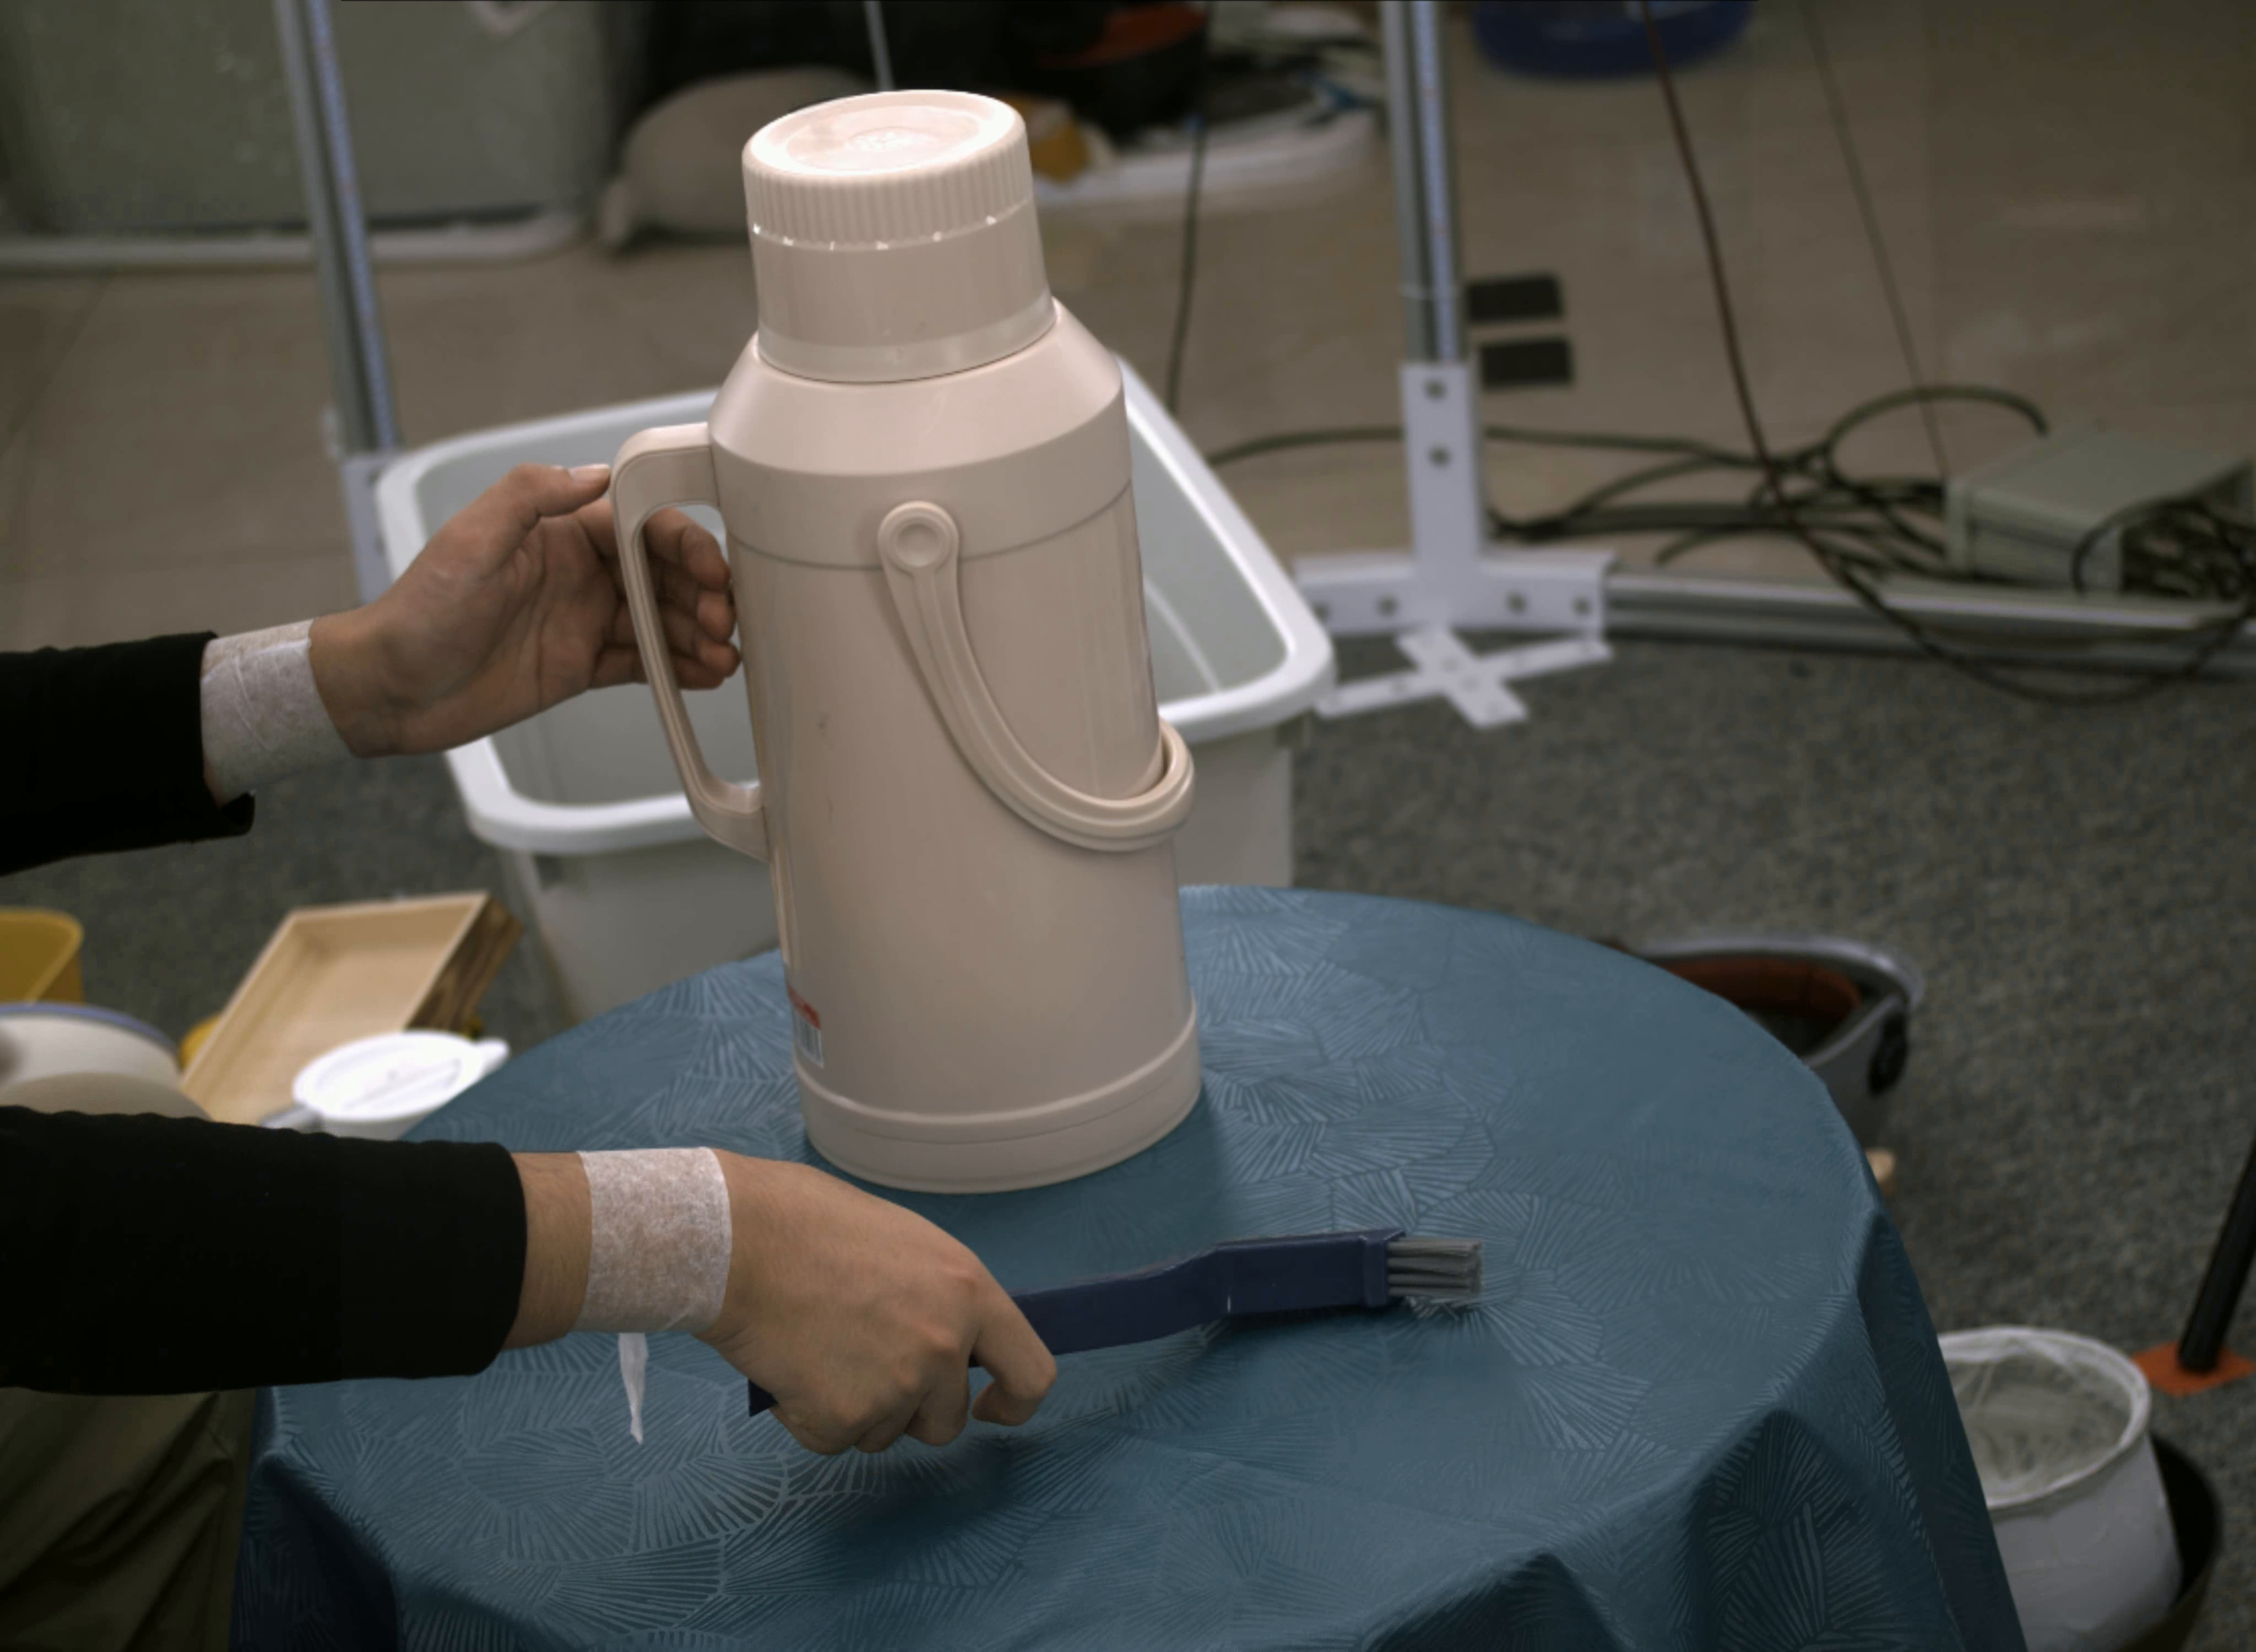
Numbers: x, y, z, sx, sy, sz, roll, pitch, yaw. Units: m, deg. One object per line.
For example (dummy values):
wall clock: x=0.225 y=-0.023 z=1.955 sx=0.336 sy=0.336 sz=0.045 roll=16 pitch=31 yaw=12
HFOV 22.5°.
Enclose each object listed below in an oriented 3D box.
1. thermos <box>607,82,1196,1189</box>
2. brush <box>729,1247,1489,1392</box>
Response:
thermos: x=-0.085 y=-0.072 z=2.143 sx=0.207 sy=0.413 sz=0.172 roll=-6 pitch=27 yaw=1
brush: x=-0.007 y=0.170 z=1.989 sx=0.272 sy=0.034 sz=0.095 roll=-7 pitch=13 yaw=-34
